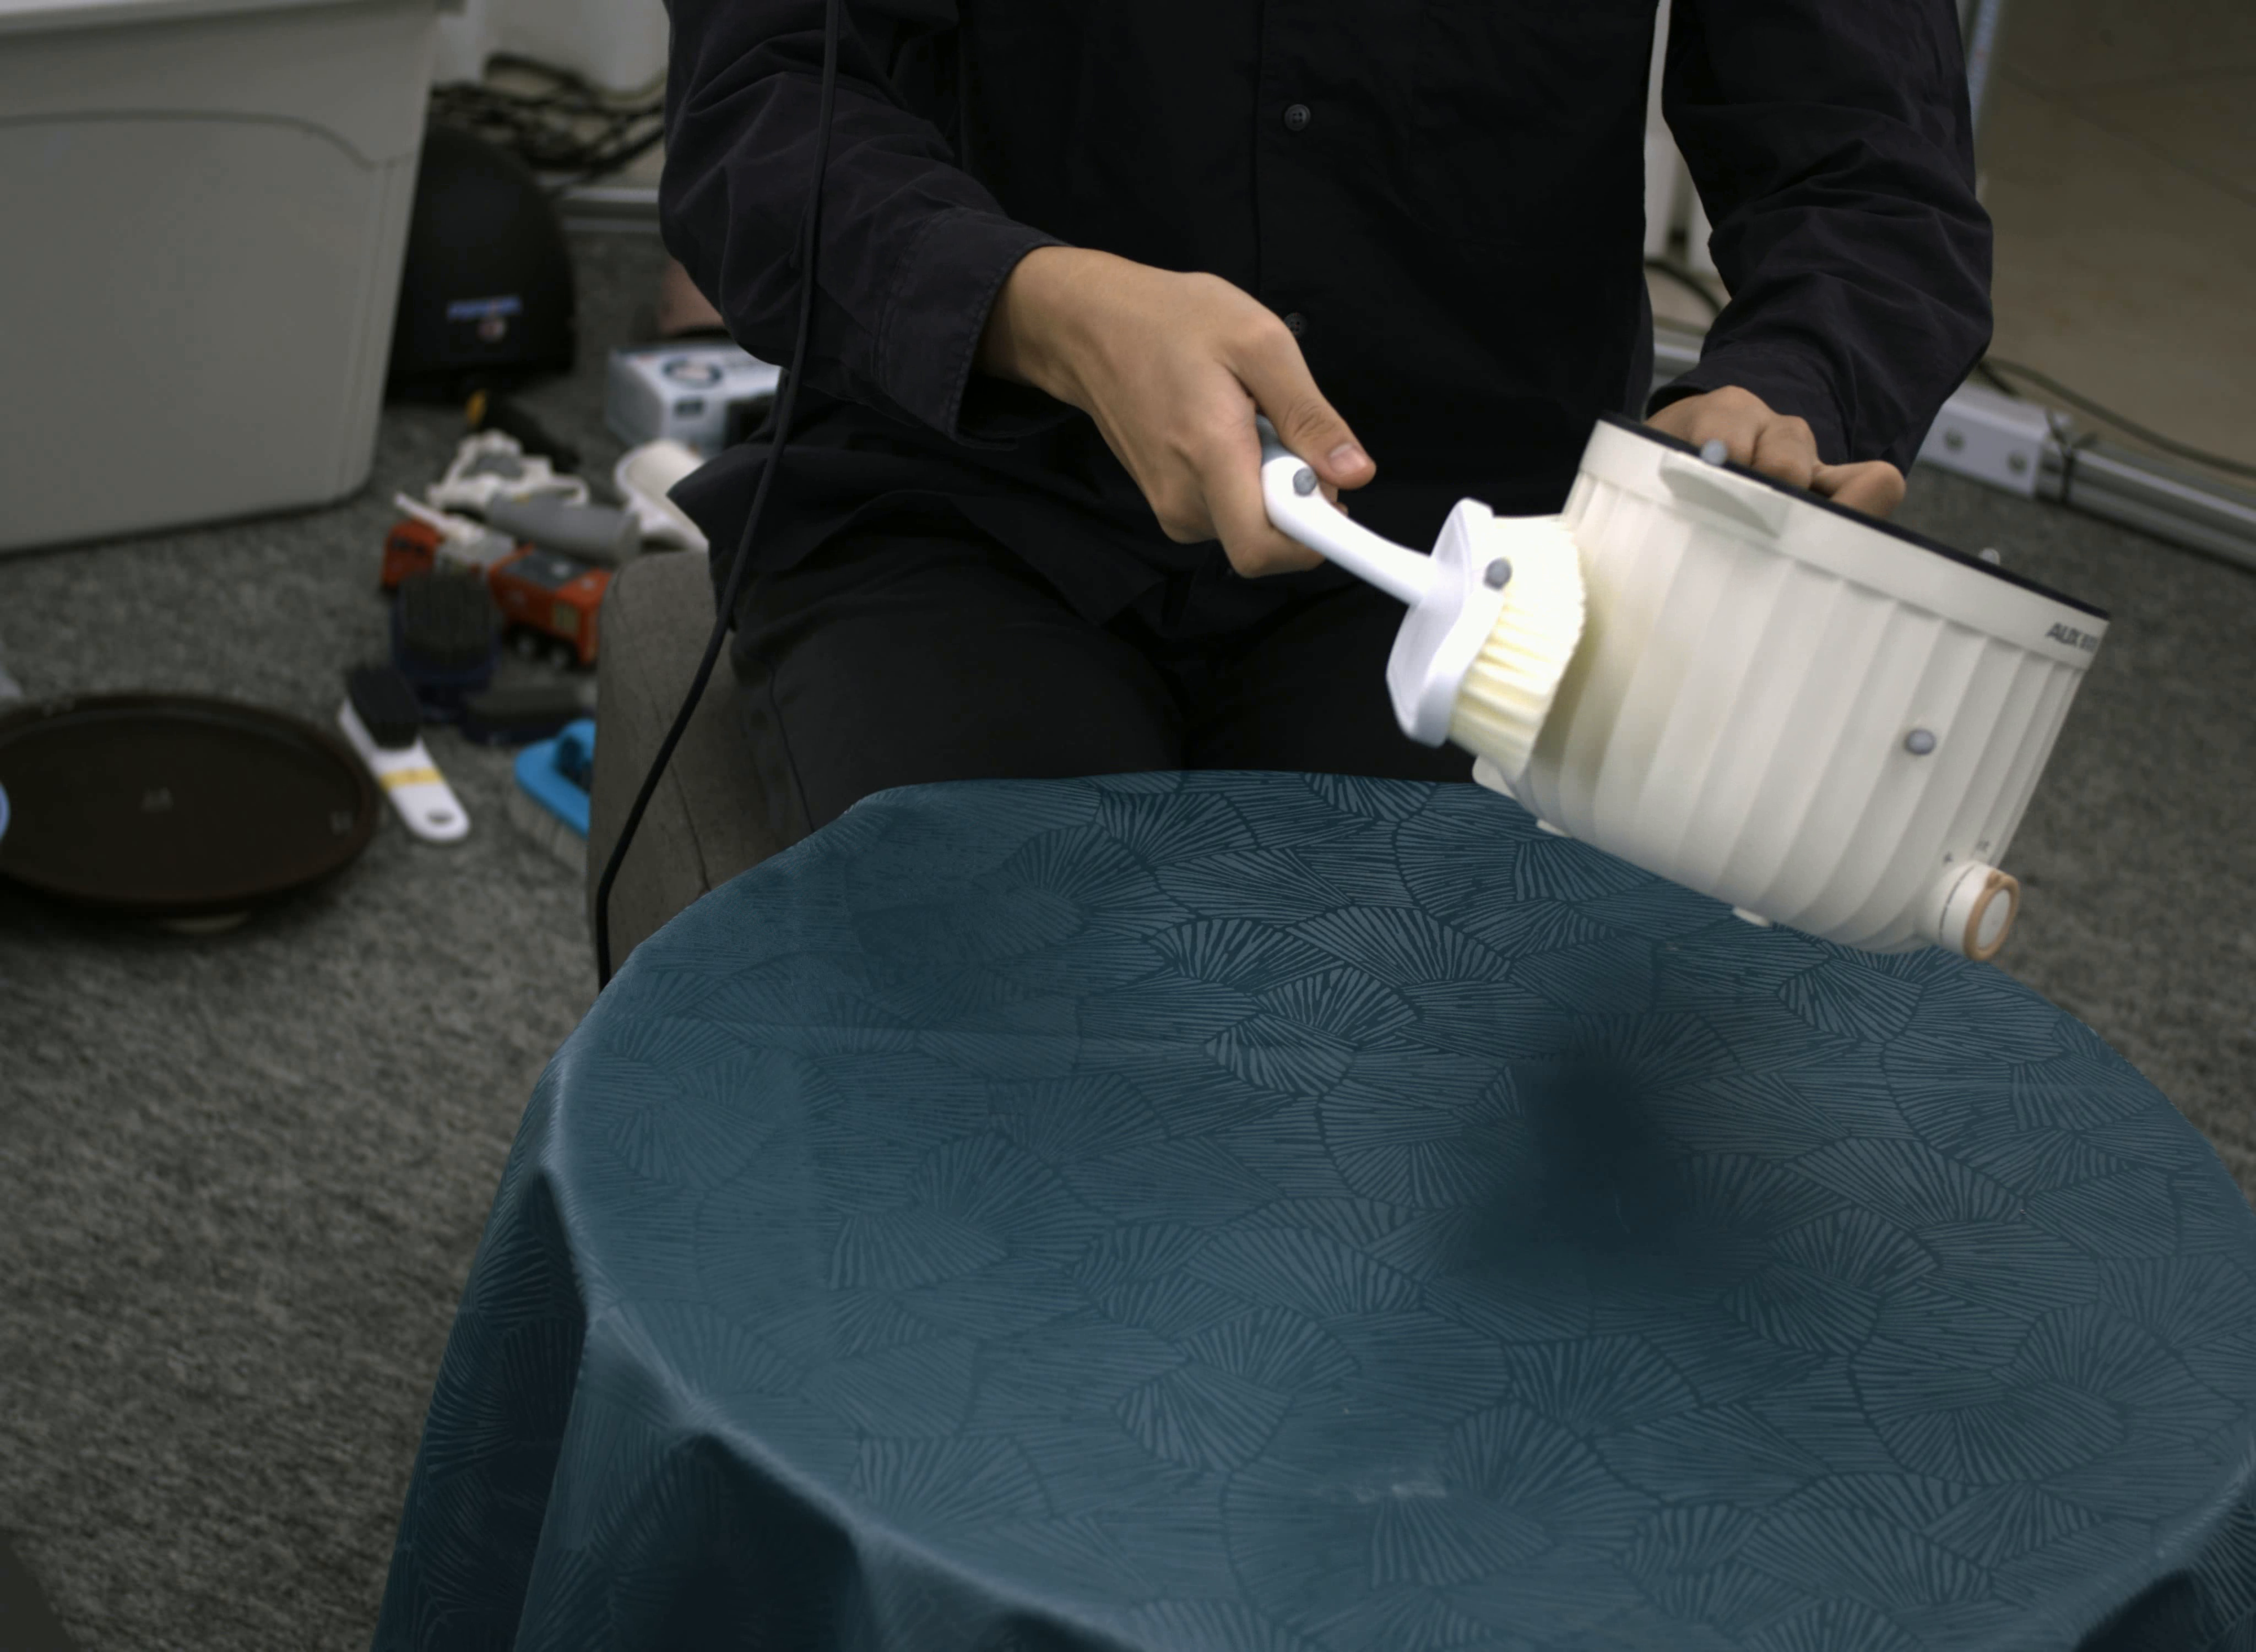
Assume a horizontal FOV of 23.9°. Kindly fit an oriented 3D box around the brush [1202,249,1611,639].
[{"bbox_3d":[0.108,-0.140,1.820,0.083,0.084,0.328,-36,25,2],"label":"brush"}]

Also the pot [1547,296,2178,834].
[{"bbox_3d":[0.248,-0.081,1.792,0.191,0.143,0.238,22,6,31],"label":"pot"}]
